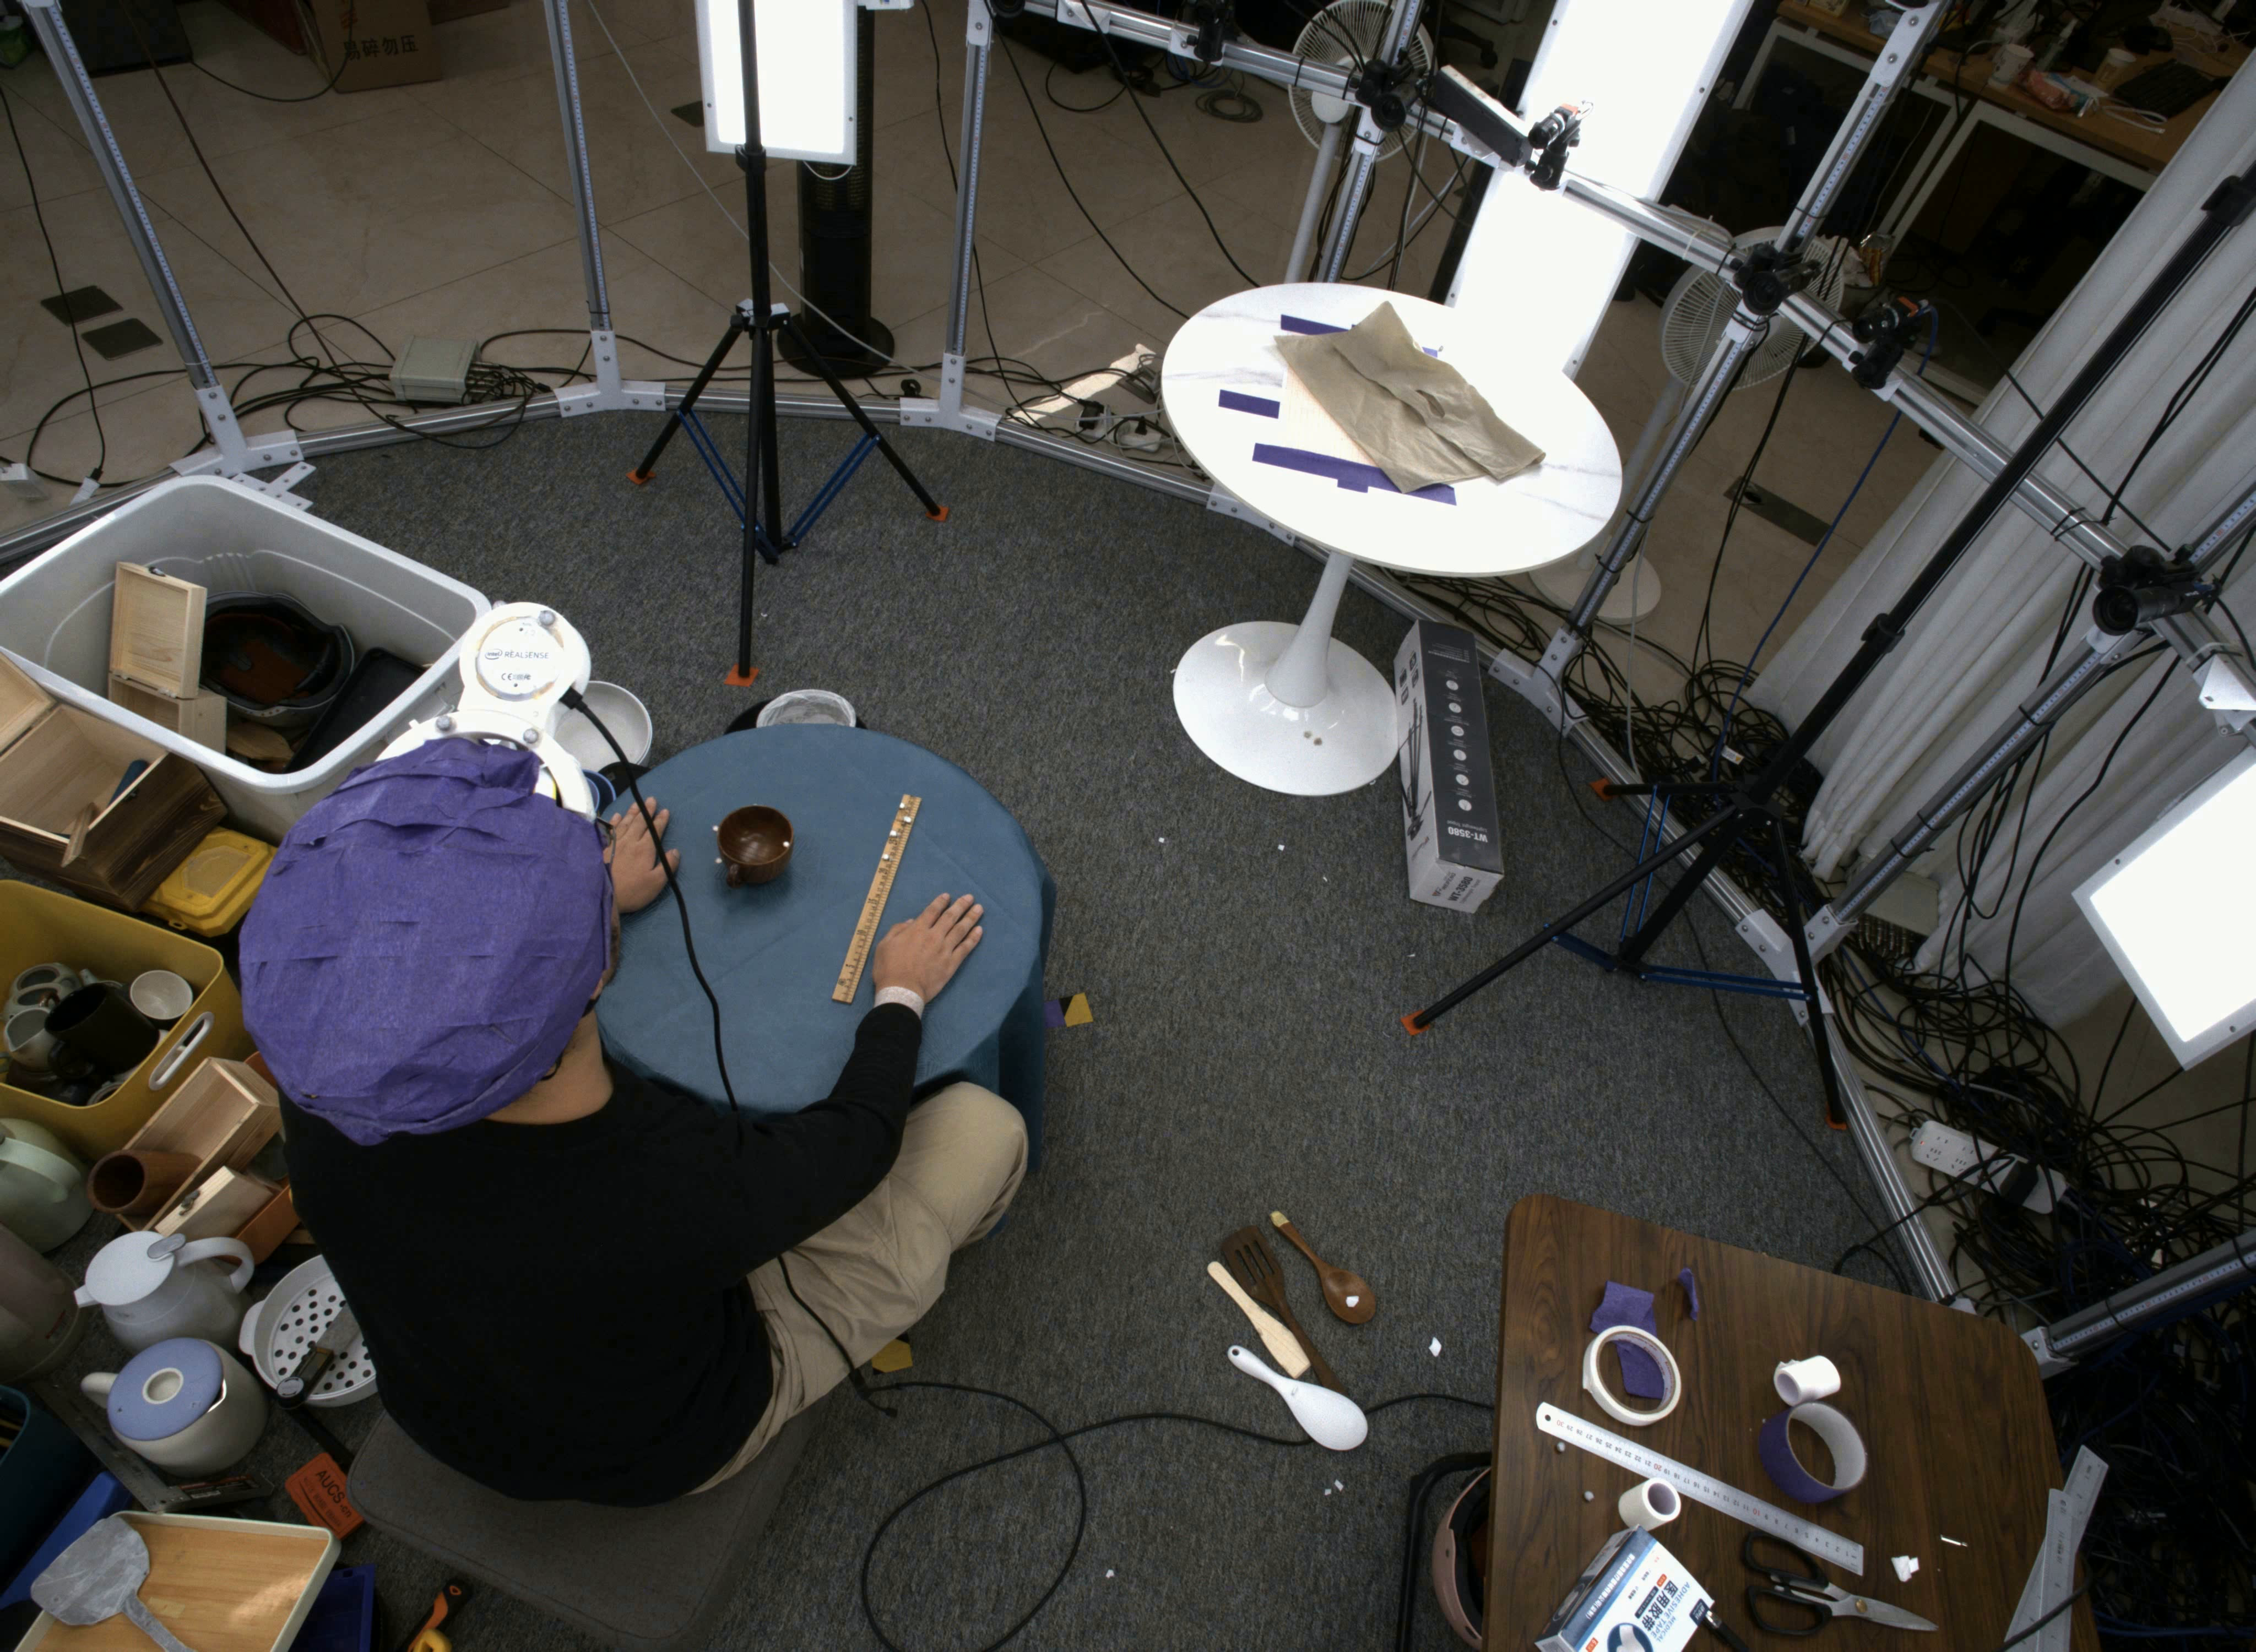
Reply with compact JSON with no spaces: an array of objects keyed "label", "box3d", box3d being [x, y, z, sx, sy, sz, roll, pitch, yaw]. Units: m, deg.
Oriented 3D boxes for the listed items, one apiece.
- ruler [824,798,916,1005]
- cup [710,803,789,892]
[{"label":"ruler","box3d":[-0.328,0.085,1.674,0.027,0.023,0.327,12,51,2]},{"label":"cup","box3d":[-0.482,0.037,1.634,0.095,0.069,0.118,20,52,-1]}]
